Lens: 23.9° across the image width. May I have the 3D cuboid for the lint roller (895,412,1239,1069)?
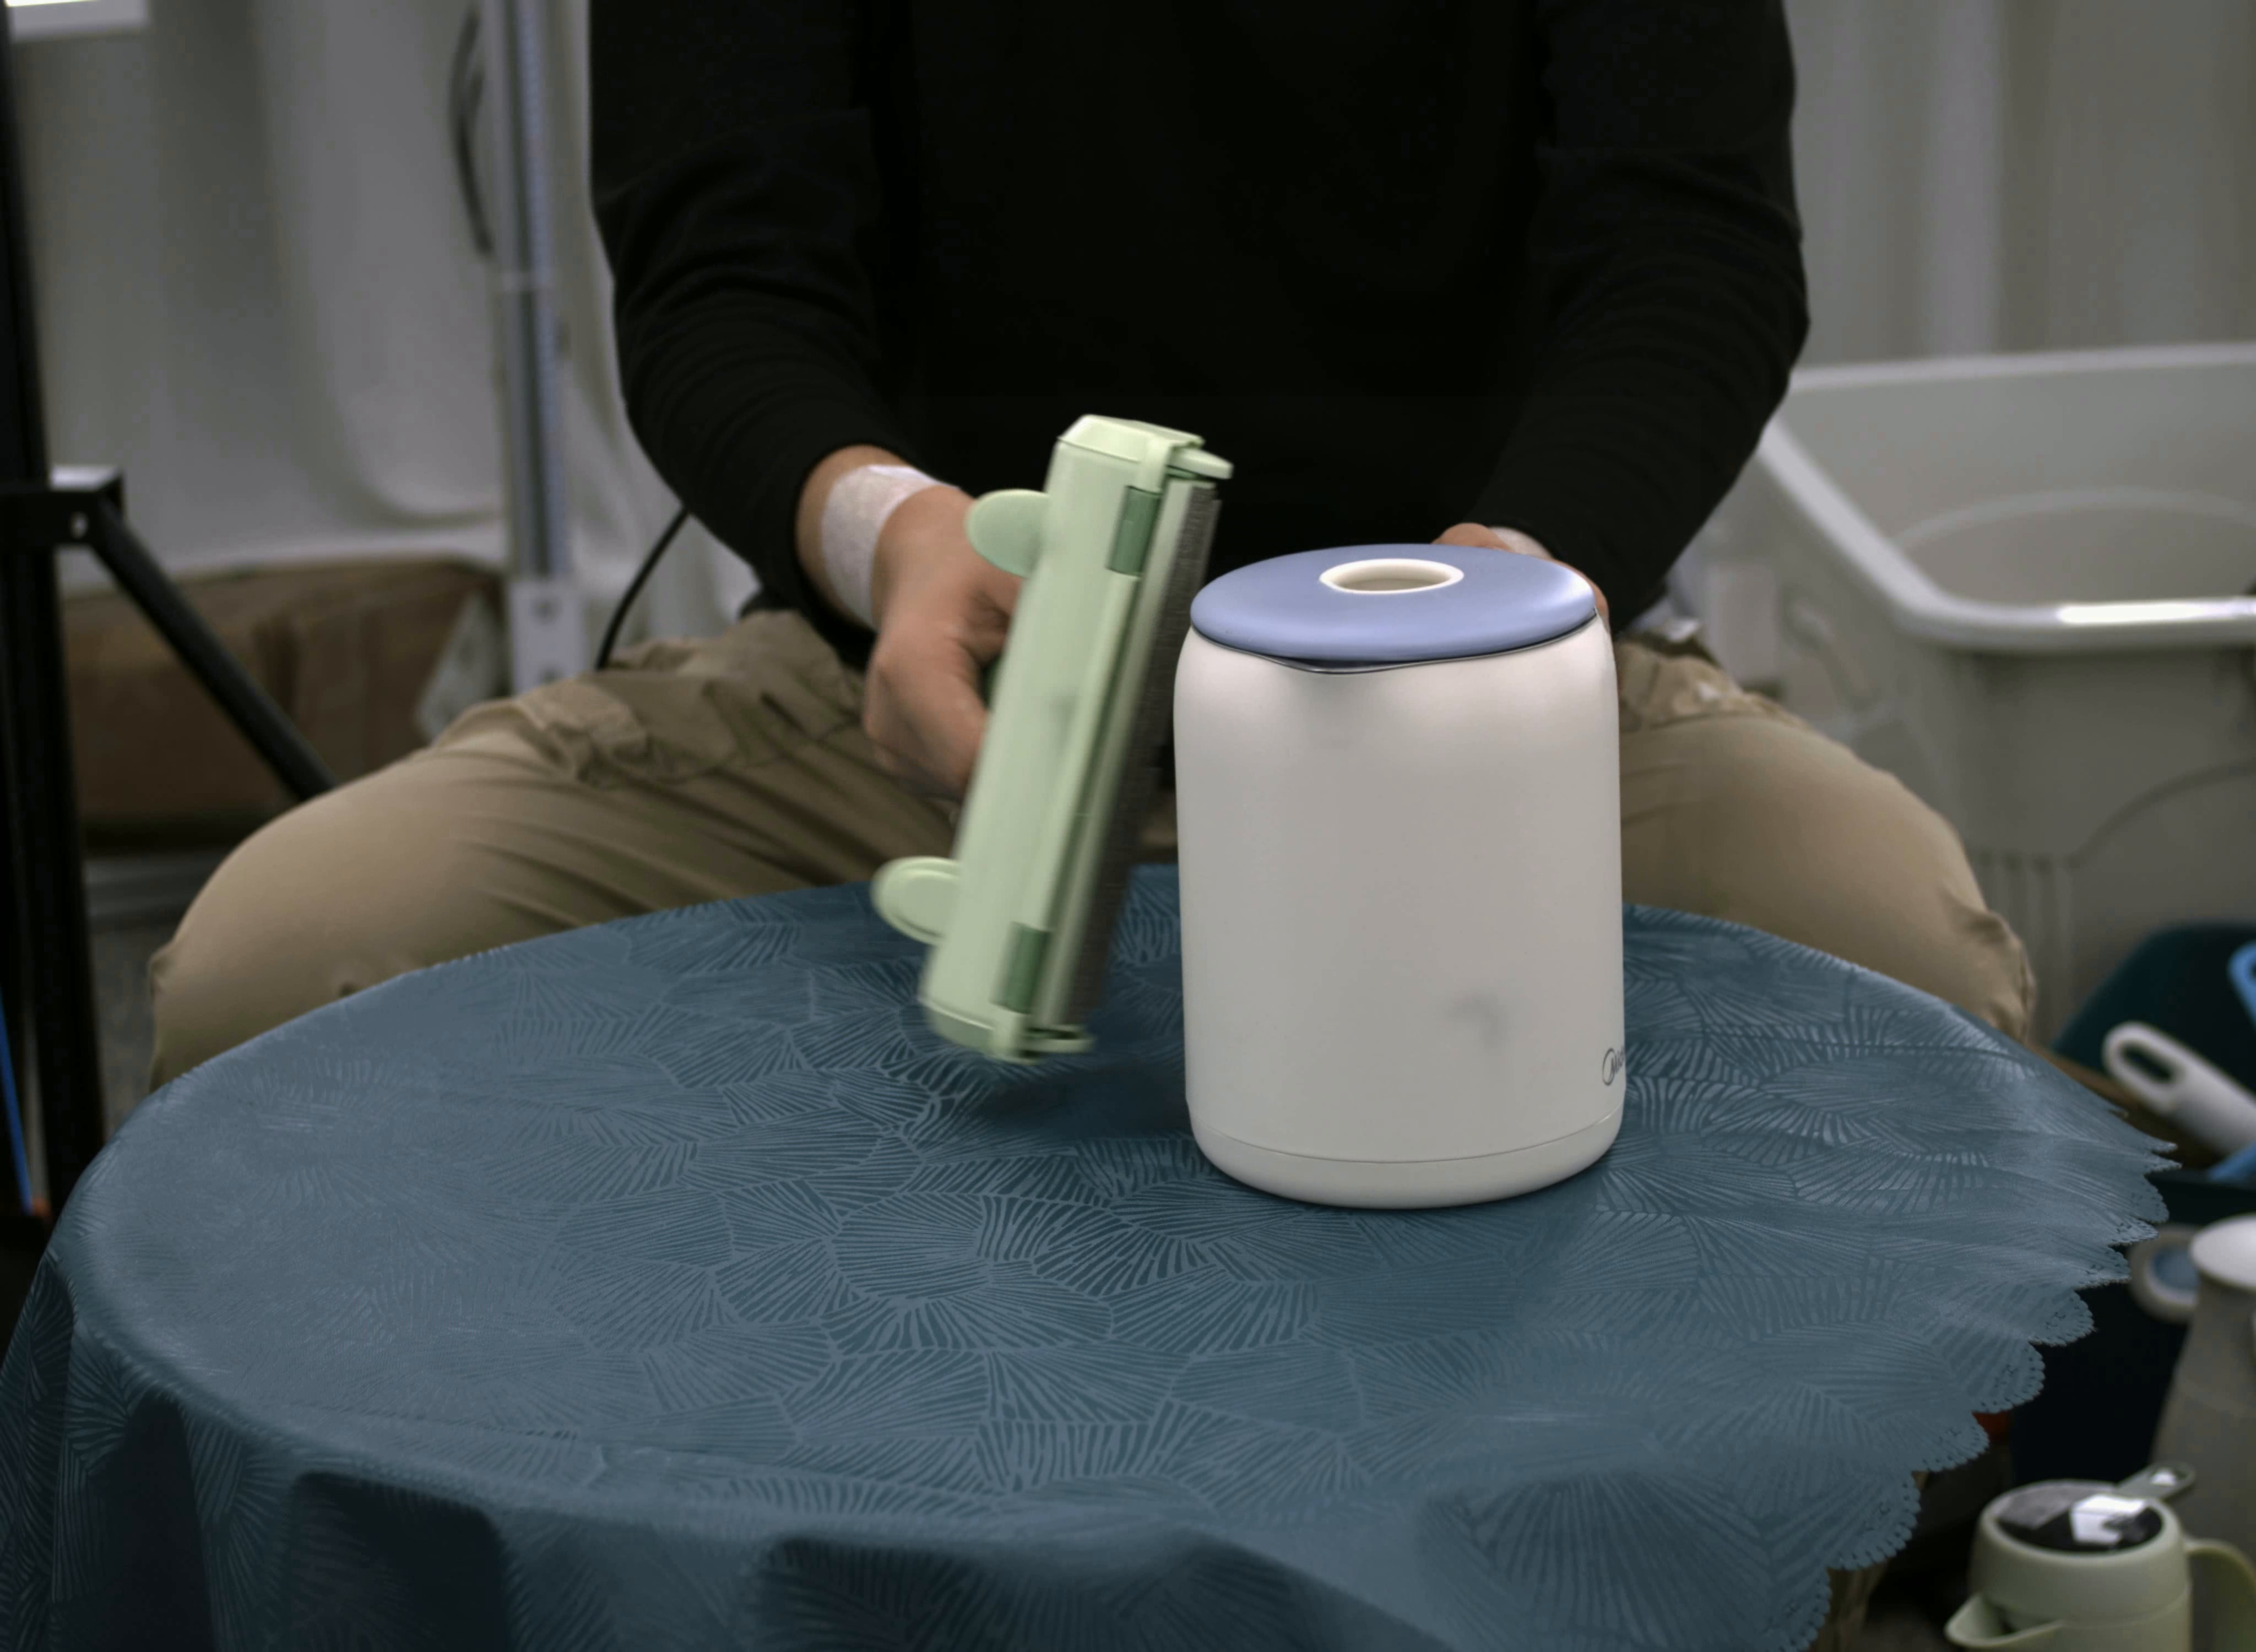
[{"bbox_3d":[-0.035,-0.036,1.673,0.080,0.199,0.186,11,6,-20],"label":"lint roller"}]

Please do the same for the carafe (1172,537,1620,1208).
[{"bbox_3d":[0.086,0.007,1.586,0.133,0.182,0.189,3,14,17],"label":"carafe"}]
